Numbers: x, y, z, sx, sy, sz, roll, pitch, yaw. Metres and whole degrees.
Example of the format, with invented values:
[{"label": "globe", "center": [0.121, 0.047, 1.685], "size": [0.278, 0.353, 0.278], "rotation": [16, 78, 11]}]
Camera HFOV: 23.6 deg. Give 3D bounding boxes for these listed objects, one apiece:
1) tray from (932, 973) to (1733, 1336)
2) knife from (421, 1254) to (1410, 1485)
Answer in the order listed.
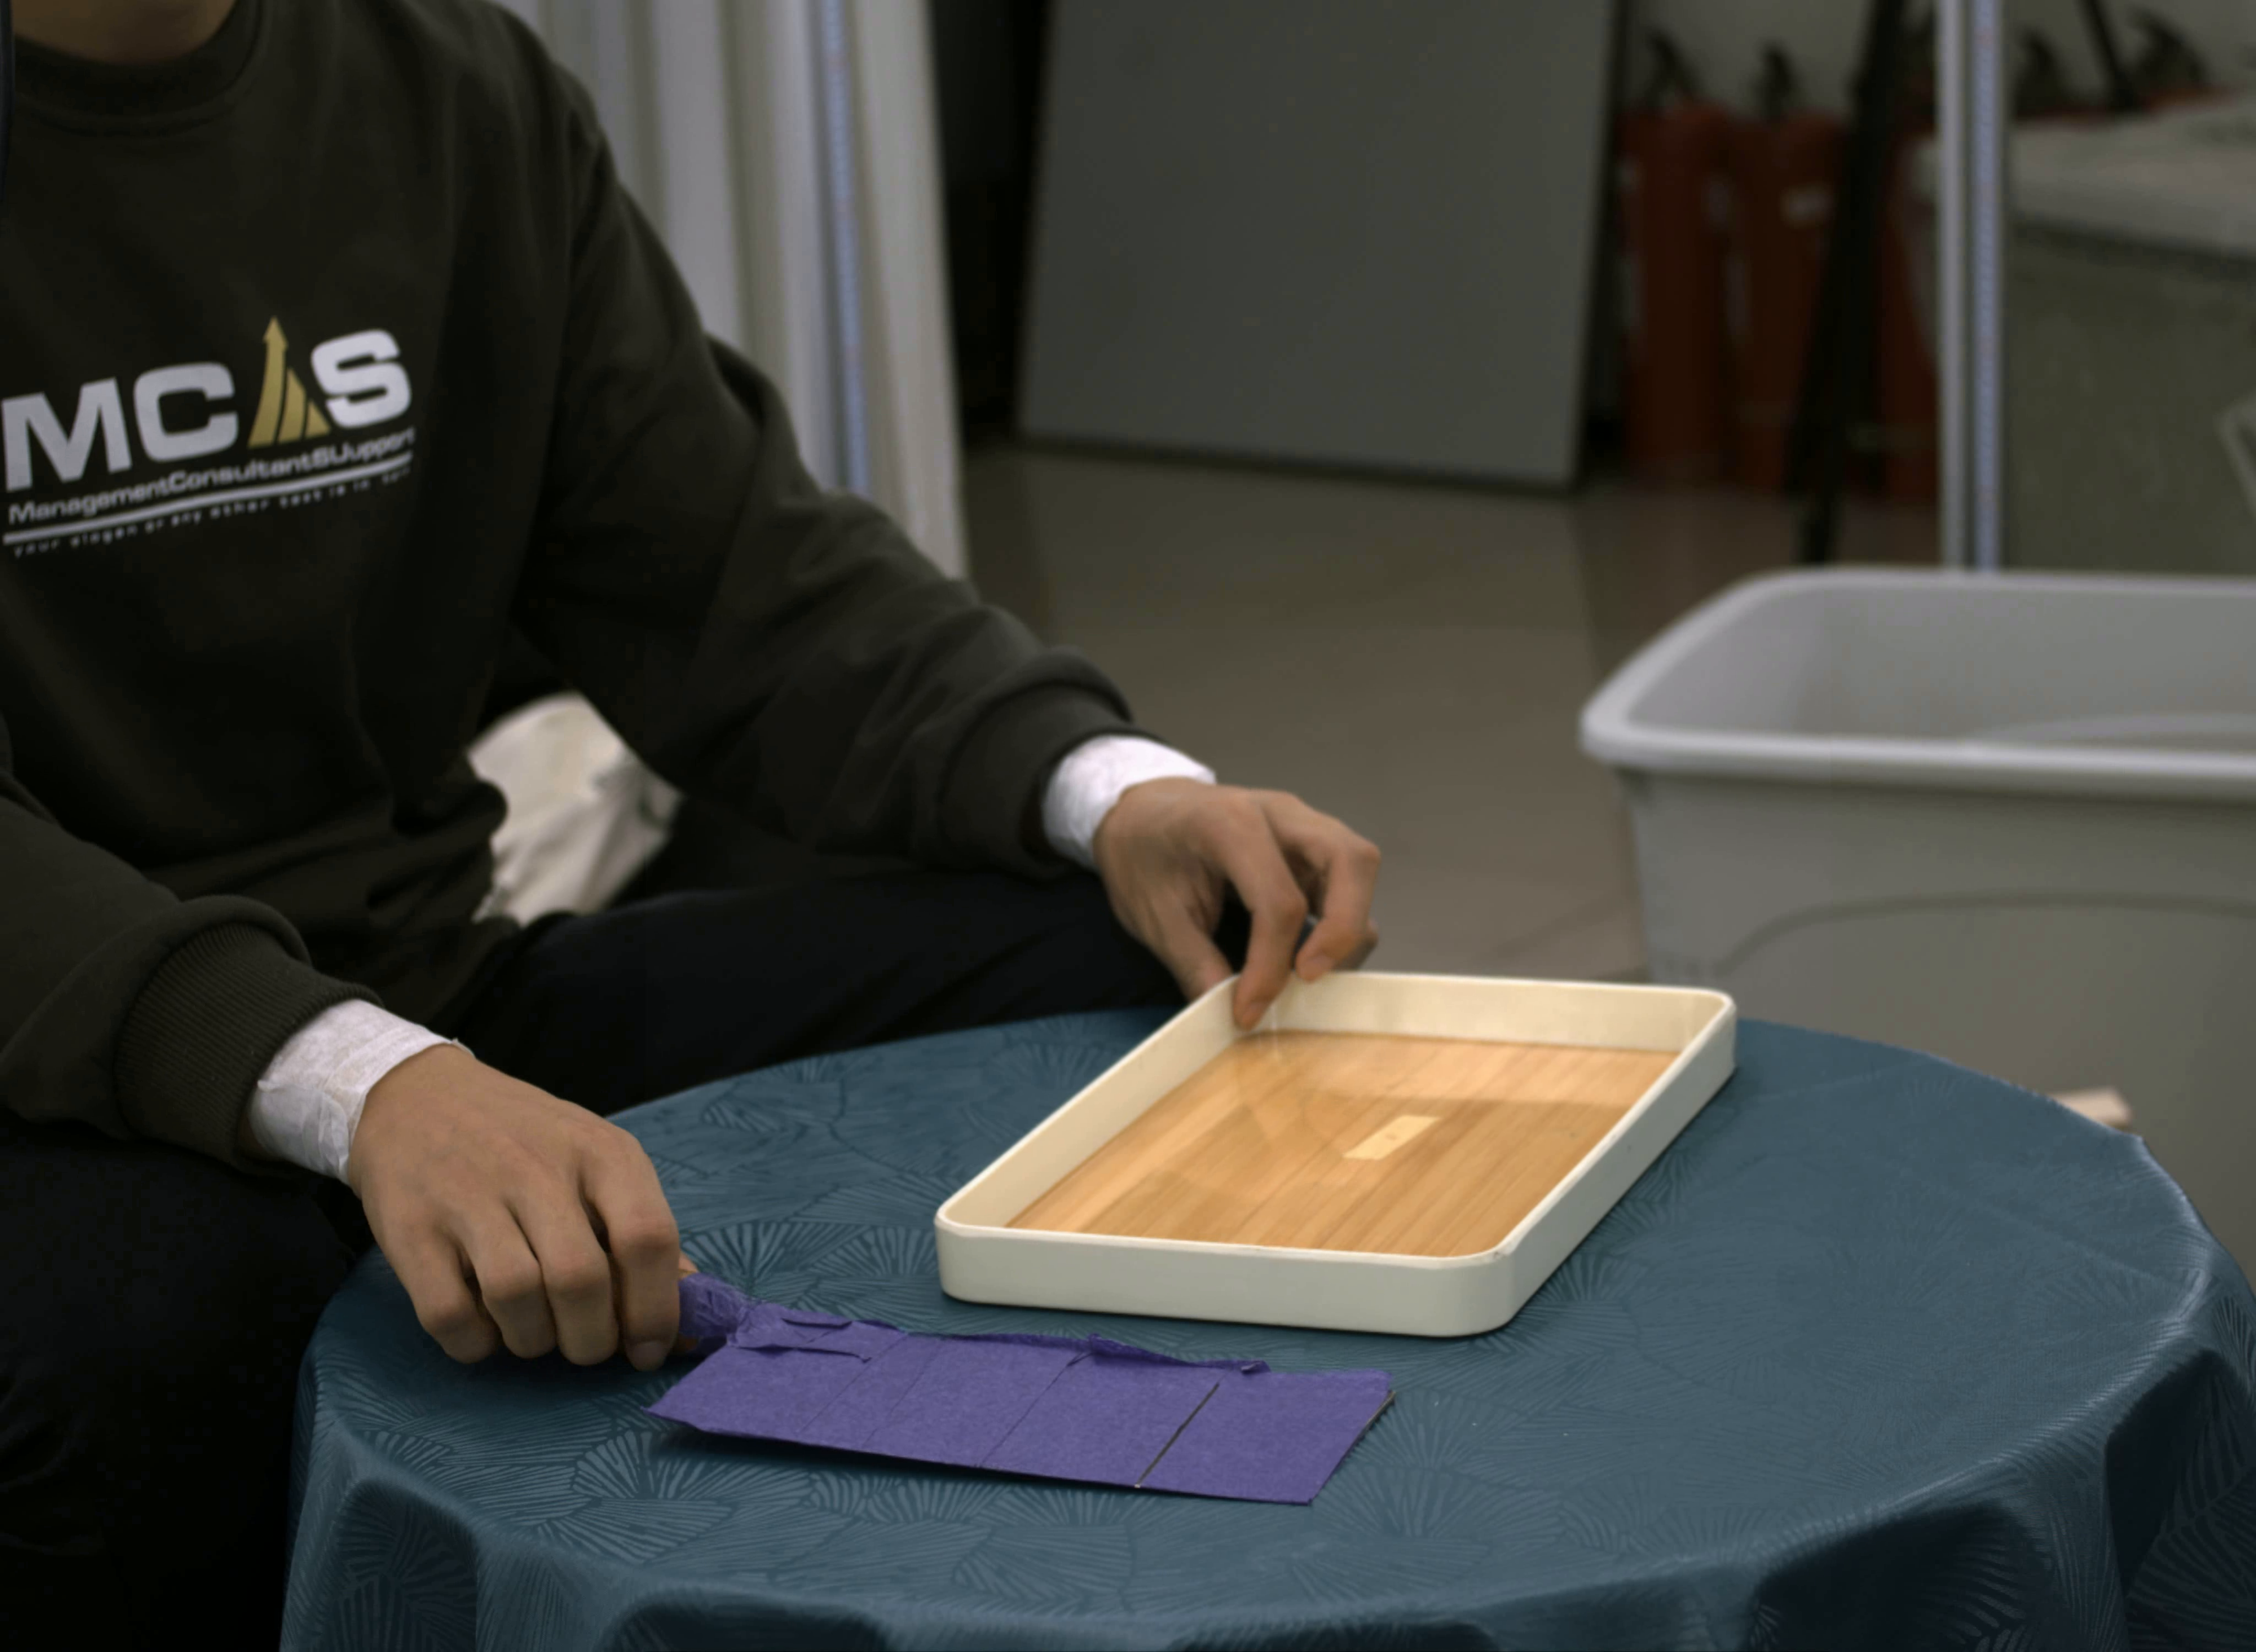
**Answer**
[{"label": "tray", "center": [0.074, 0.103, 1.769], "size": [0.191, 0.028, 0.297], "rotation": [1, 15, 22]}, {"label": "knife", "center": [-0.077, 0.159, 1.583], "size": [0.315, 0.032, 0.103], "rotation": [2, 15, 22]}]
